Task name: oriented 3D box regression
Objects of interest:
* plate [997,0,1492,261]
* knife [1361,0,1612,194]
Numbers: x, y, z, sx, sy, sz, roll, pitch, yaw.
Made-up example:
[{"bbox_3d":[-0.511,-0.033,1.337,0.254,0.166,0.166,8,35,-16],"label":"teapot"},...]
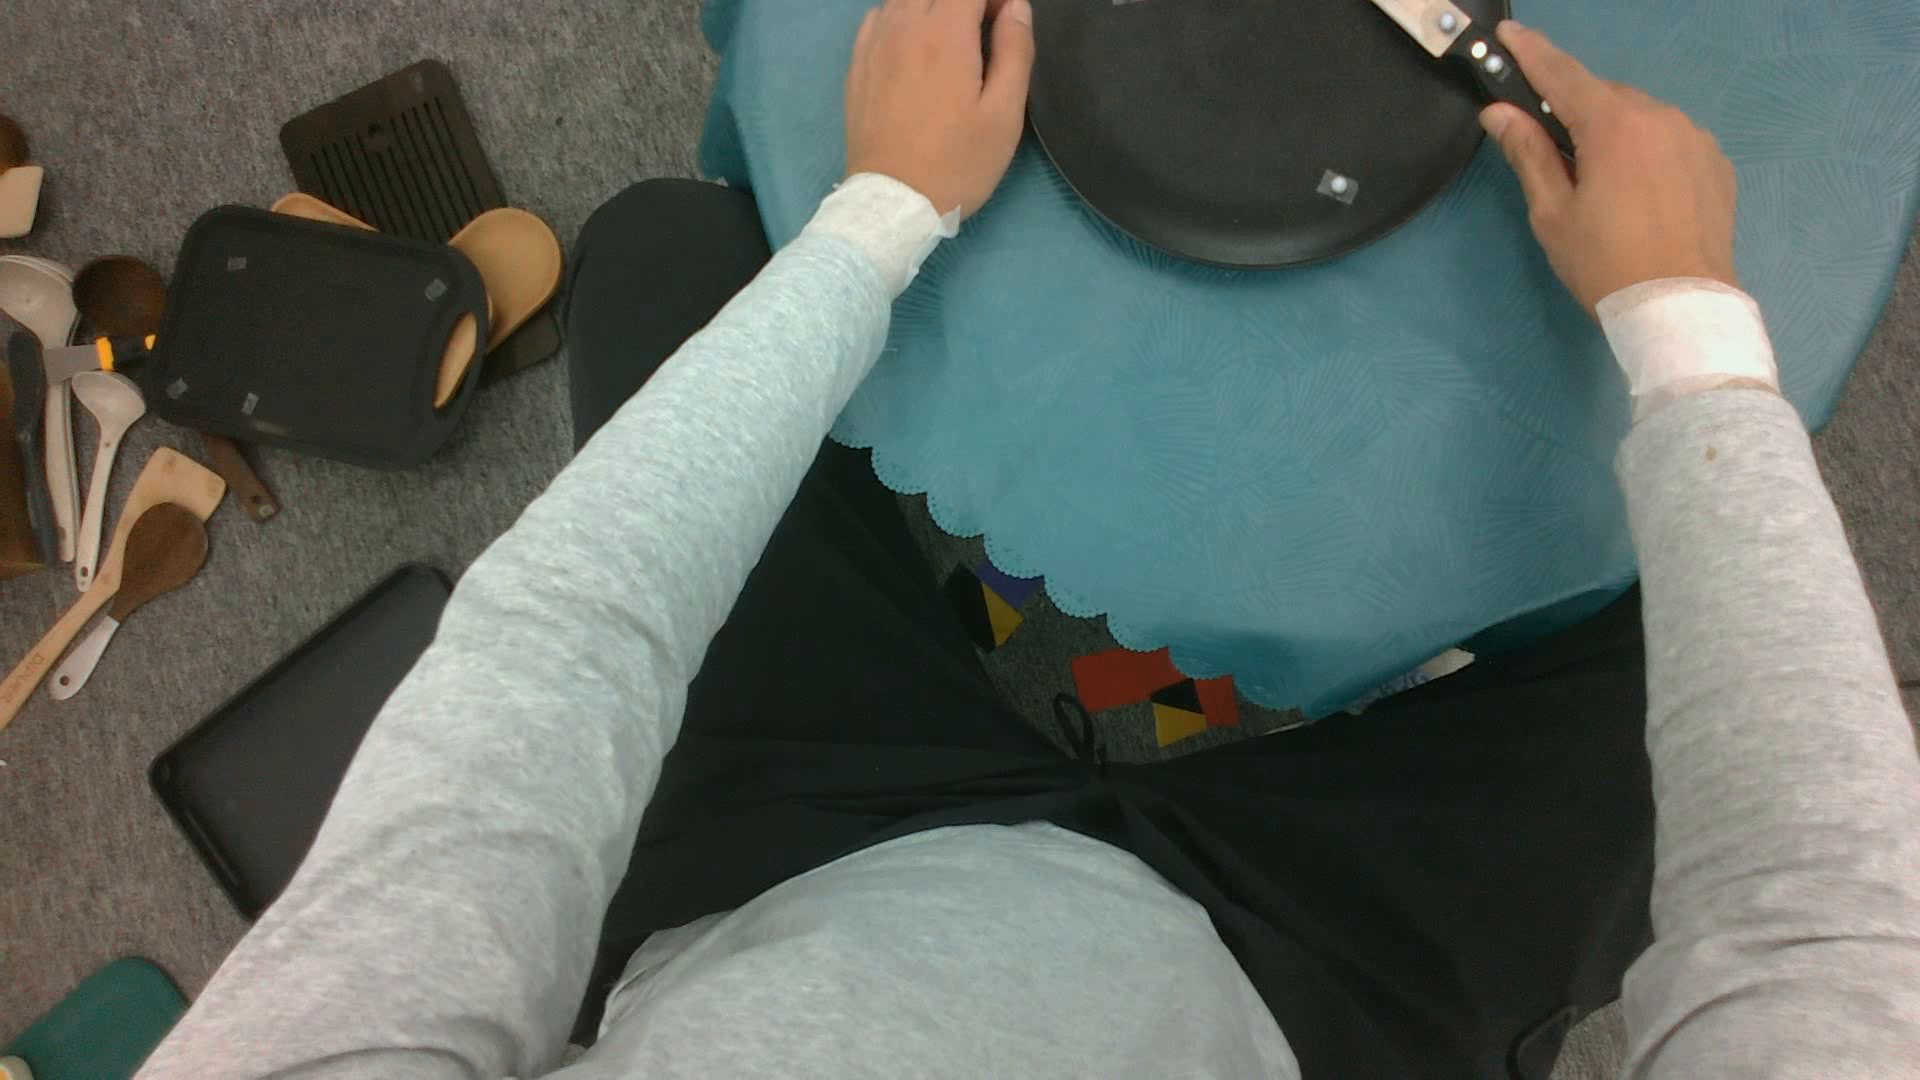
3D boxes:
[{"bbox_3d":[0.140,-0.258,0.690,0.244,0.023,0.244,0,86,2],"label":"plate"},{"bbox_3d":[0.225,-0.253,0.670,0.238,0.016,0.024,48,109,14],"label":"knife"}]
